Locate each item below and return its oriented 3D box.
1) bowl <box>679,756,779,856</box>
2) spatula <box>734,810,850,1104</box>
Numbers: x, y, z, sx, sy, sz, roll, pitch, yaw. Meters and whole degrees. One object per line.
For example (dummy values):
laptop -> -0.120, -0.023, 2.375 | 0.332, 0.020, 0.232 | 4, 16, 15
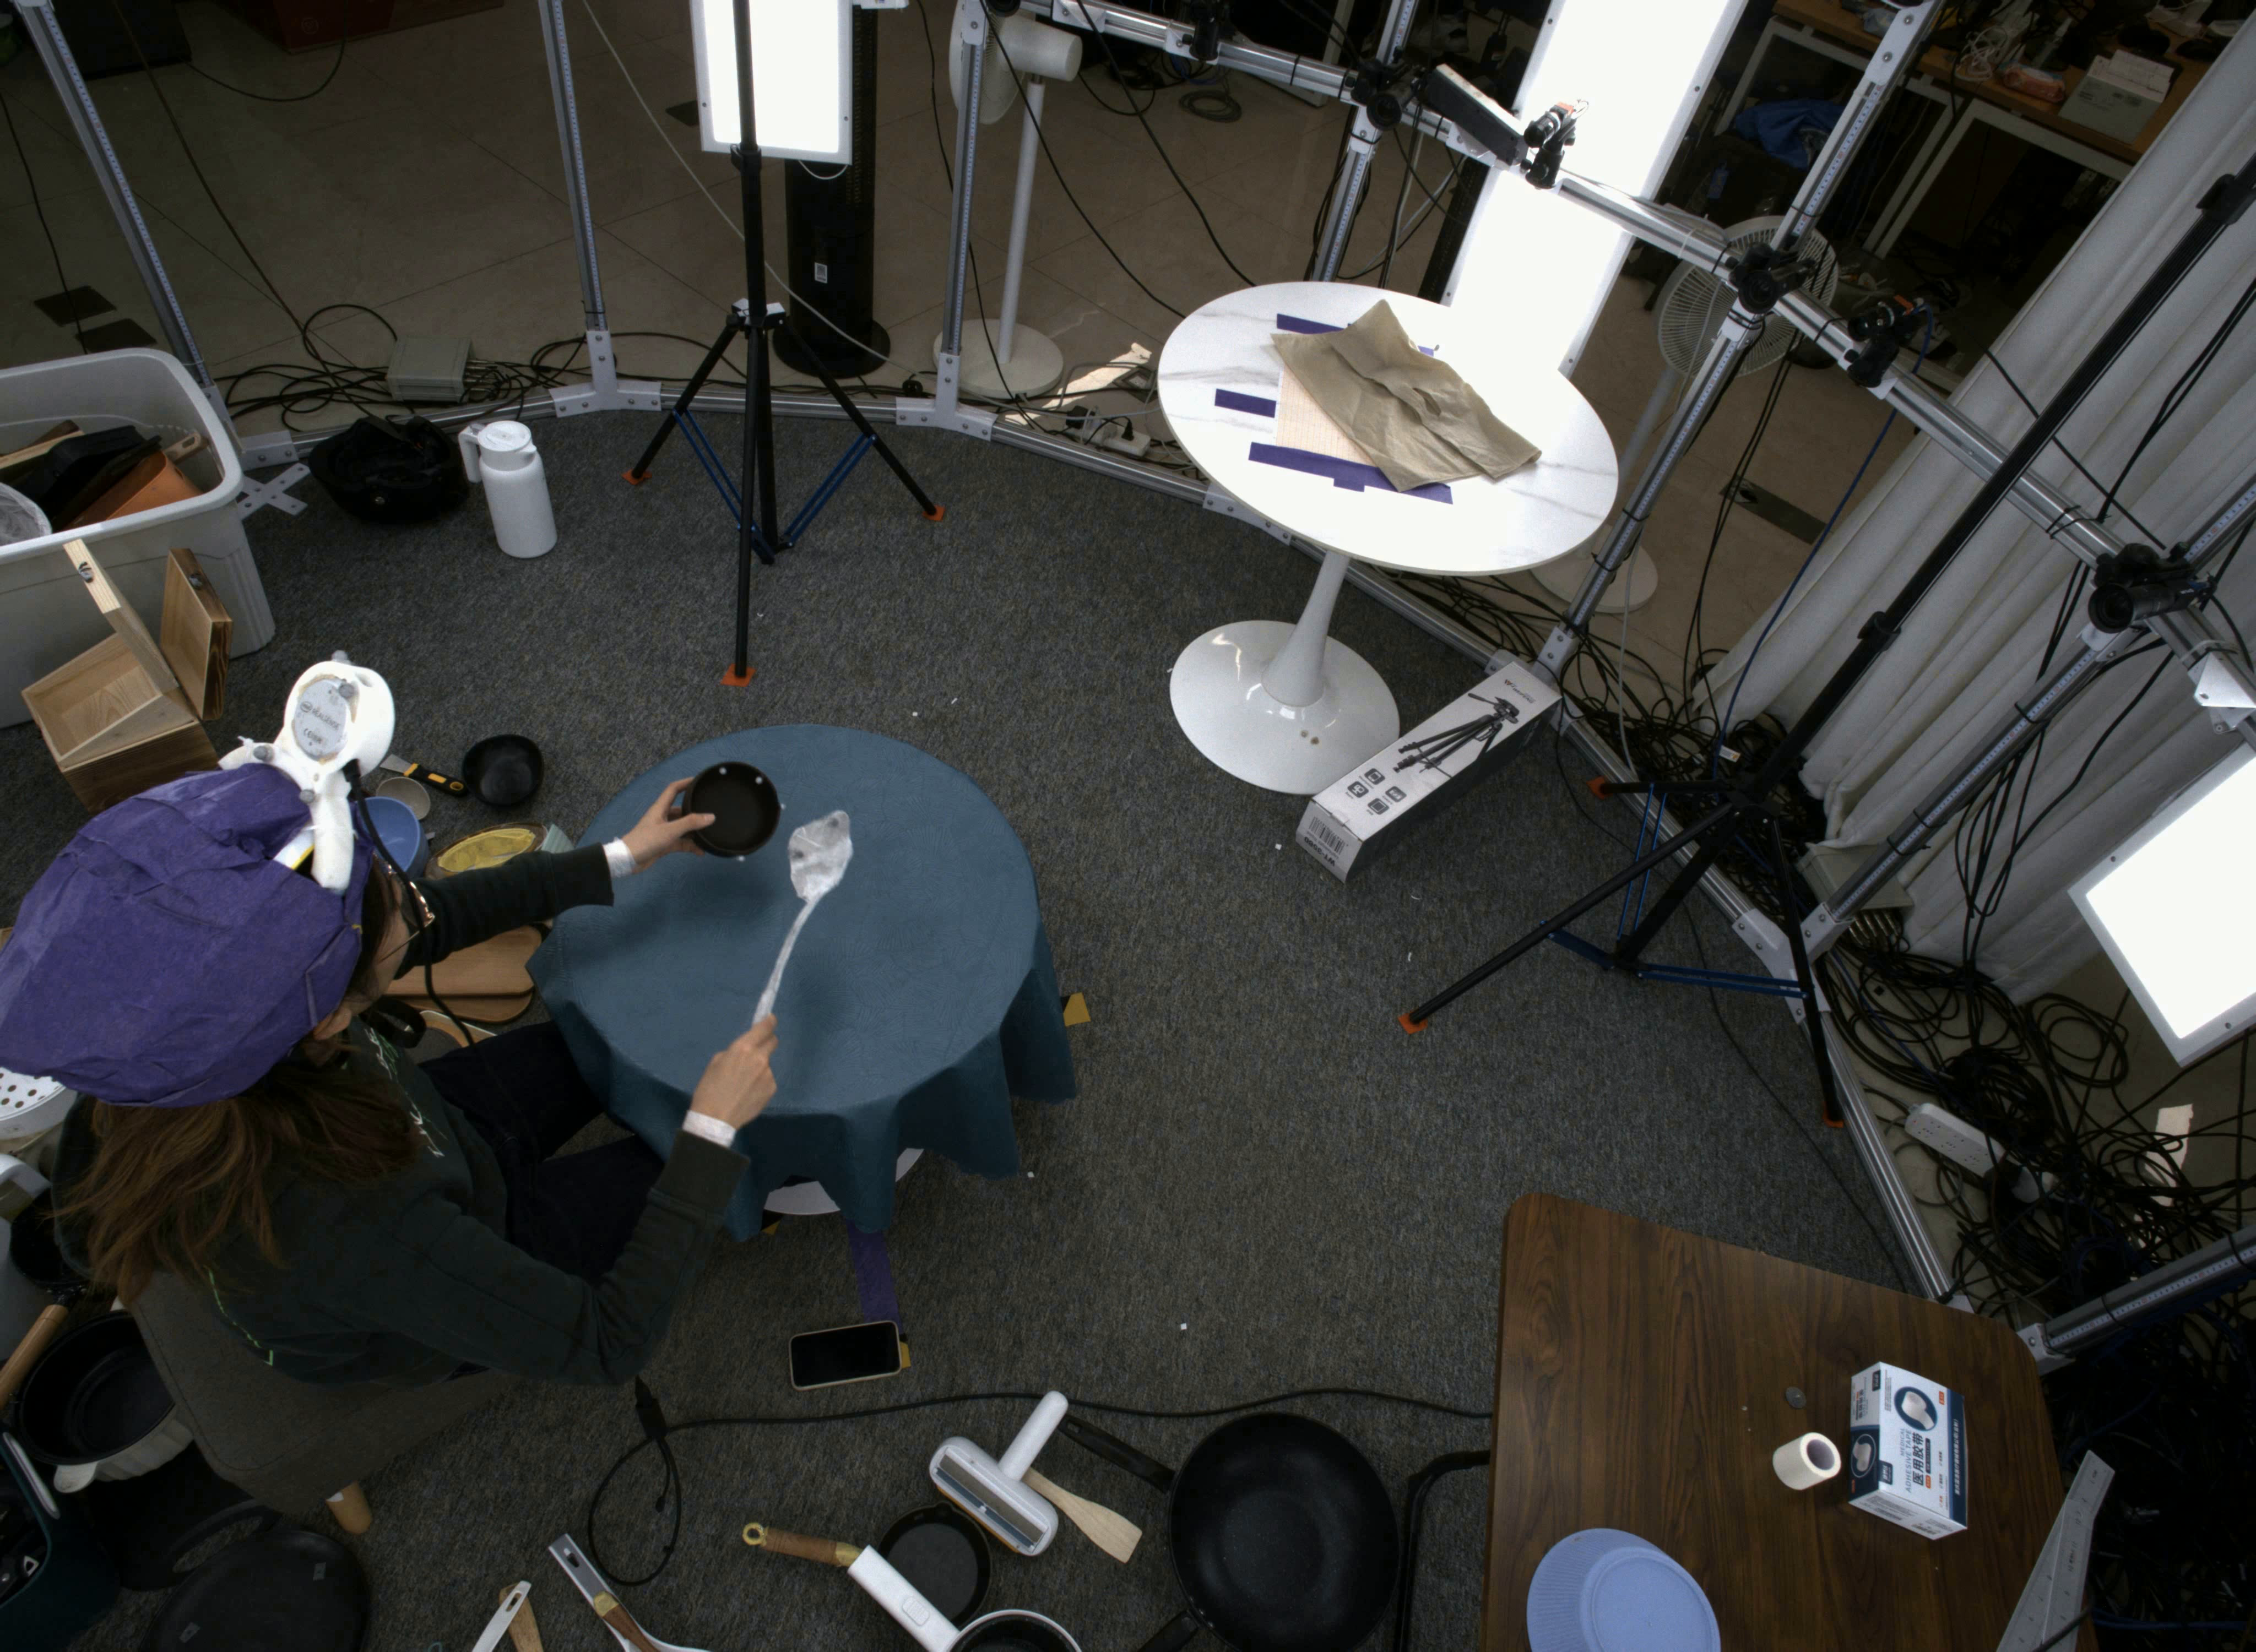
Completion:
bowl -> -0.496, -0.022, 1.593 | 0.120, 0.068, 0.118 | 8, 76, -31
spatula -> -0.375, 0.130, 1.413 | 0.096, 0.046, 0.359 | -16, 42, 27
